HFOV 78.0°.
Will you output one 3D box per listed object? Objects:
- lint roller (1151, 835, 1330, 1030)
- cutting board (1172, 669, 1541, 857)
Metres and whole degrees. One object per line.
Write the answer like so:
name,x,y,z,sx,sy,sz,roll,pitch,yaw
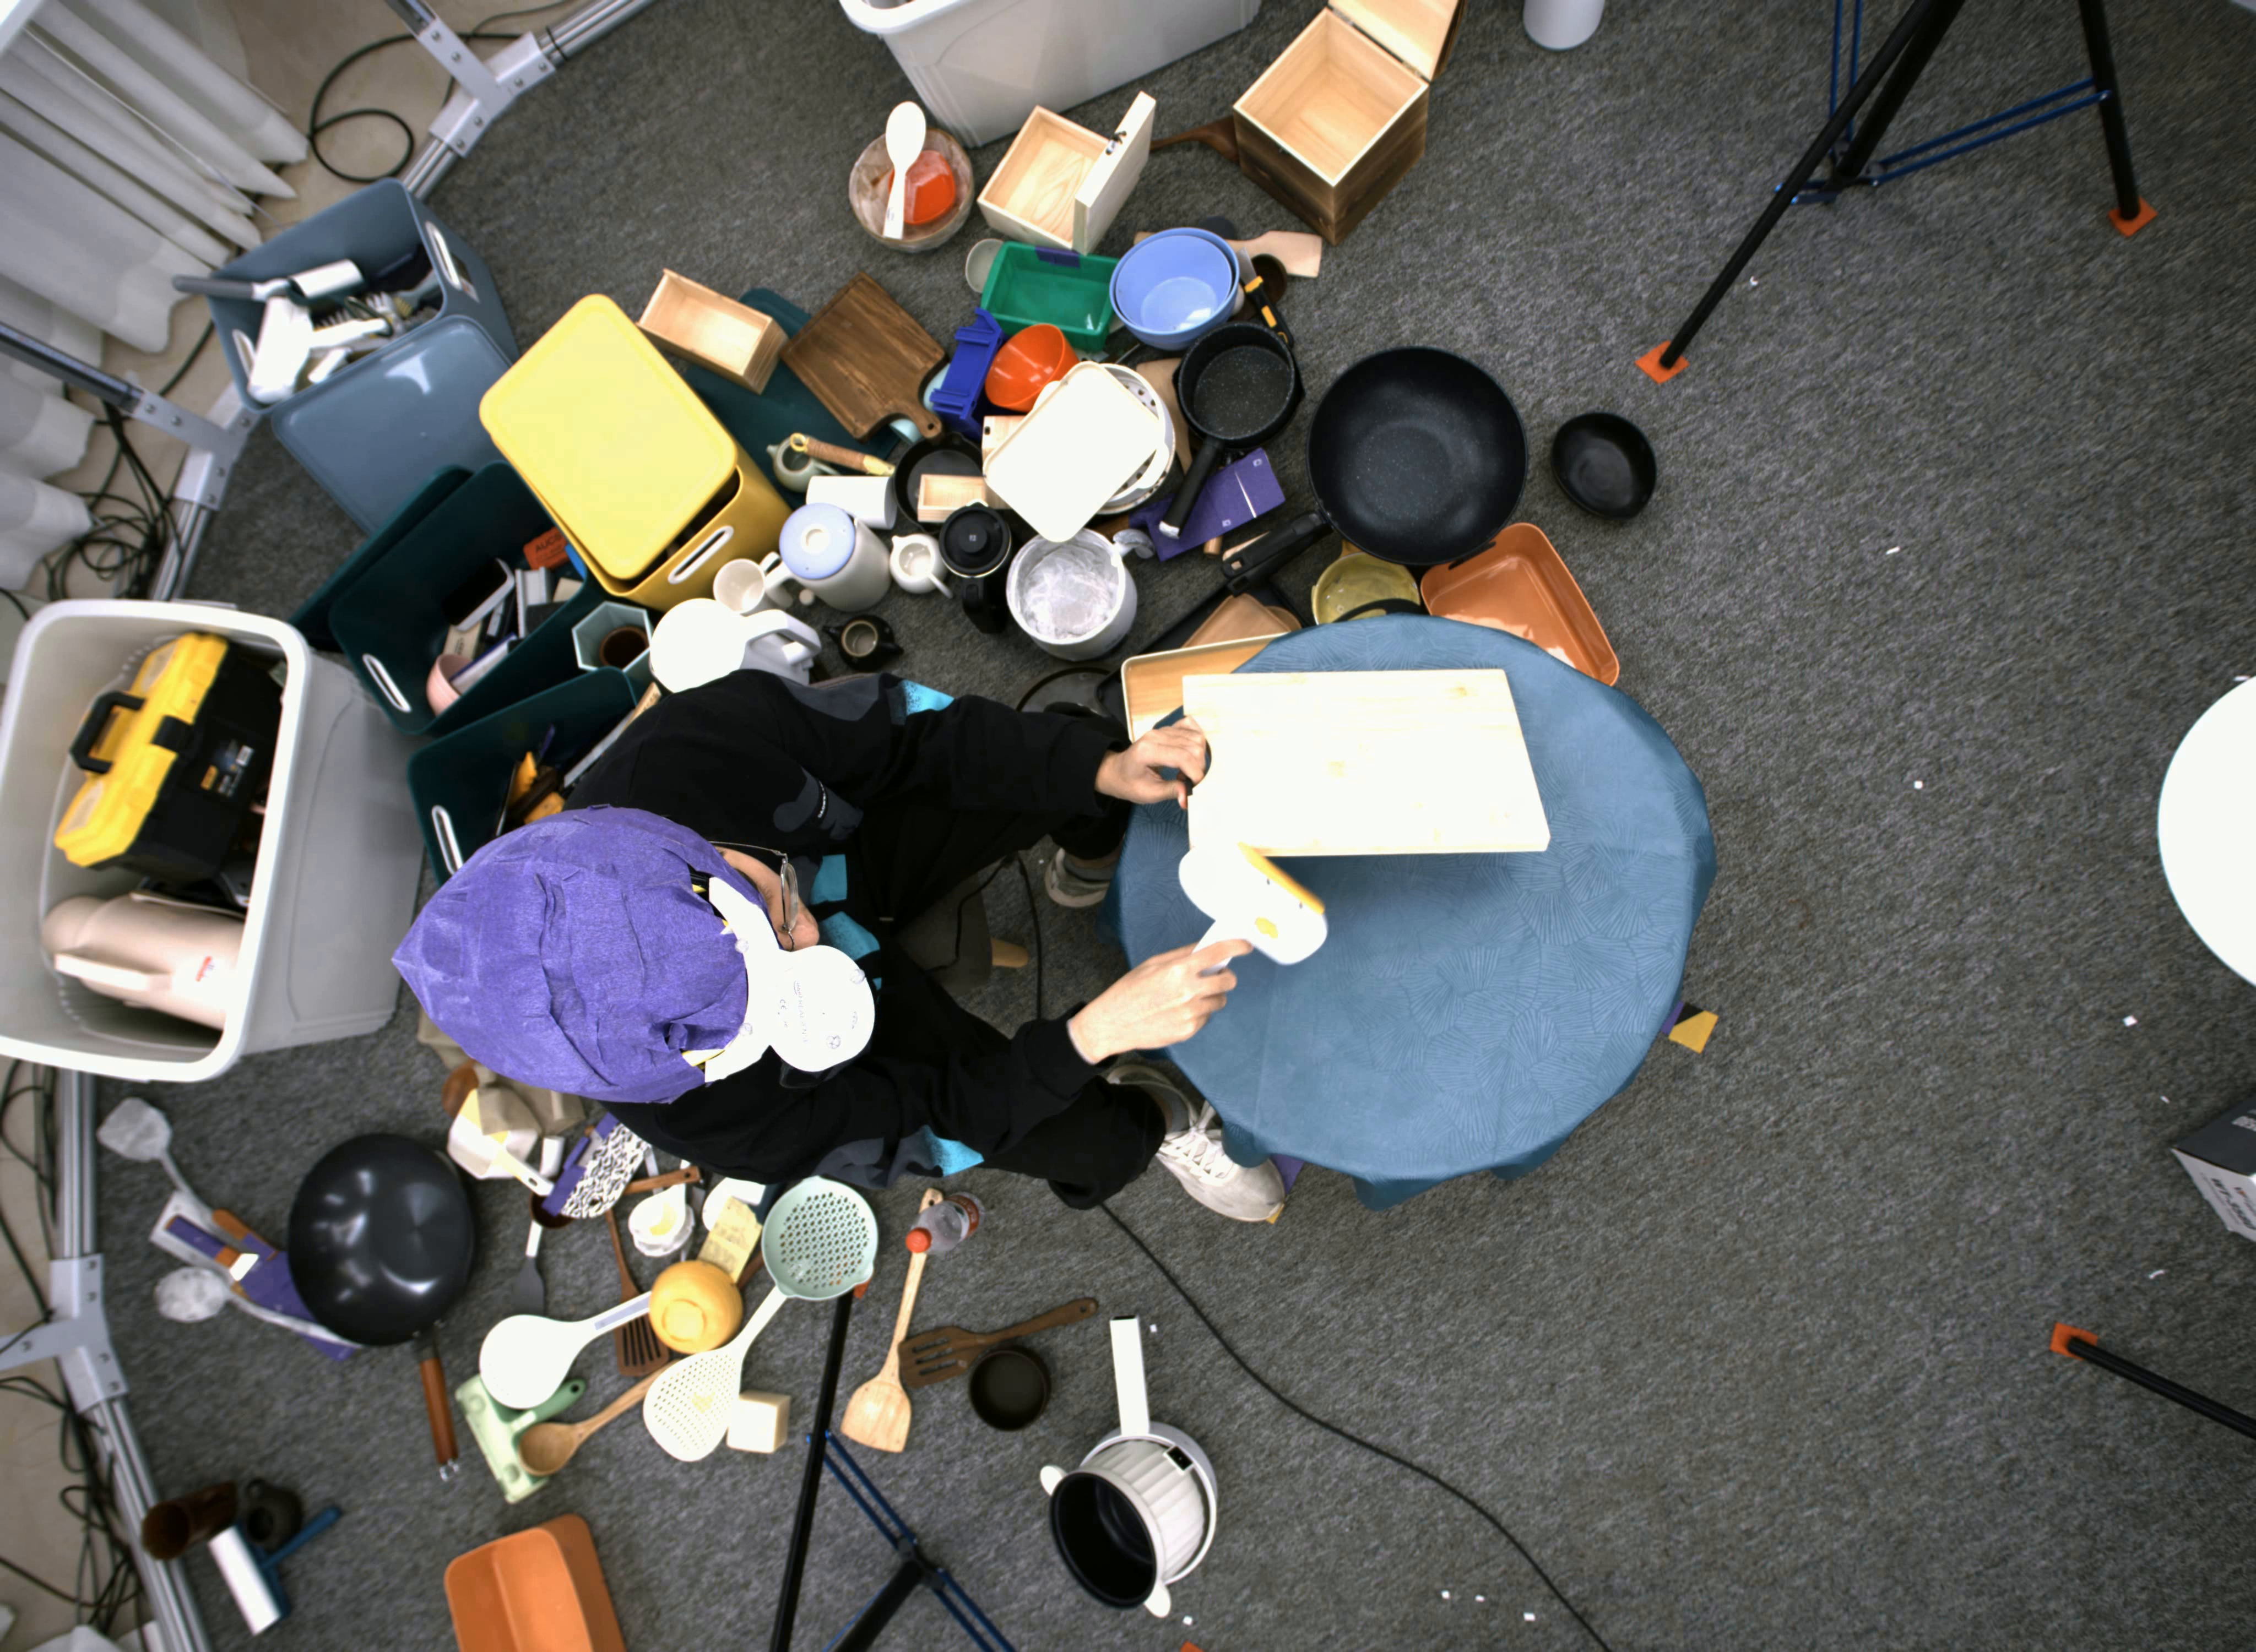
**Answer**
lint roller,0.085,0.112,1.327,0.195,0.193,0.073,-46,48,18
cutting board,0.220,-0.068,1.370,0.349,0.024,0.244,-2,50,1
